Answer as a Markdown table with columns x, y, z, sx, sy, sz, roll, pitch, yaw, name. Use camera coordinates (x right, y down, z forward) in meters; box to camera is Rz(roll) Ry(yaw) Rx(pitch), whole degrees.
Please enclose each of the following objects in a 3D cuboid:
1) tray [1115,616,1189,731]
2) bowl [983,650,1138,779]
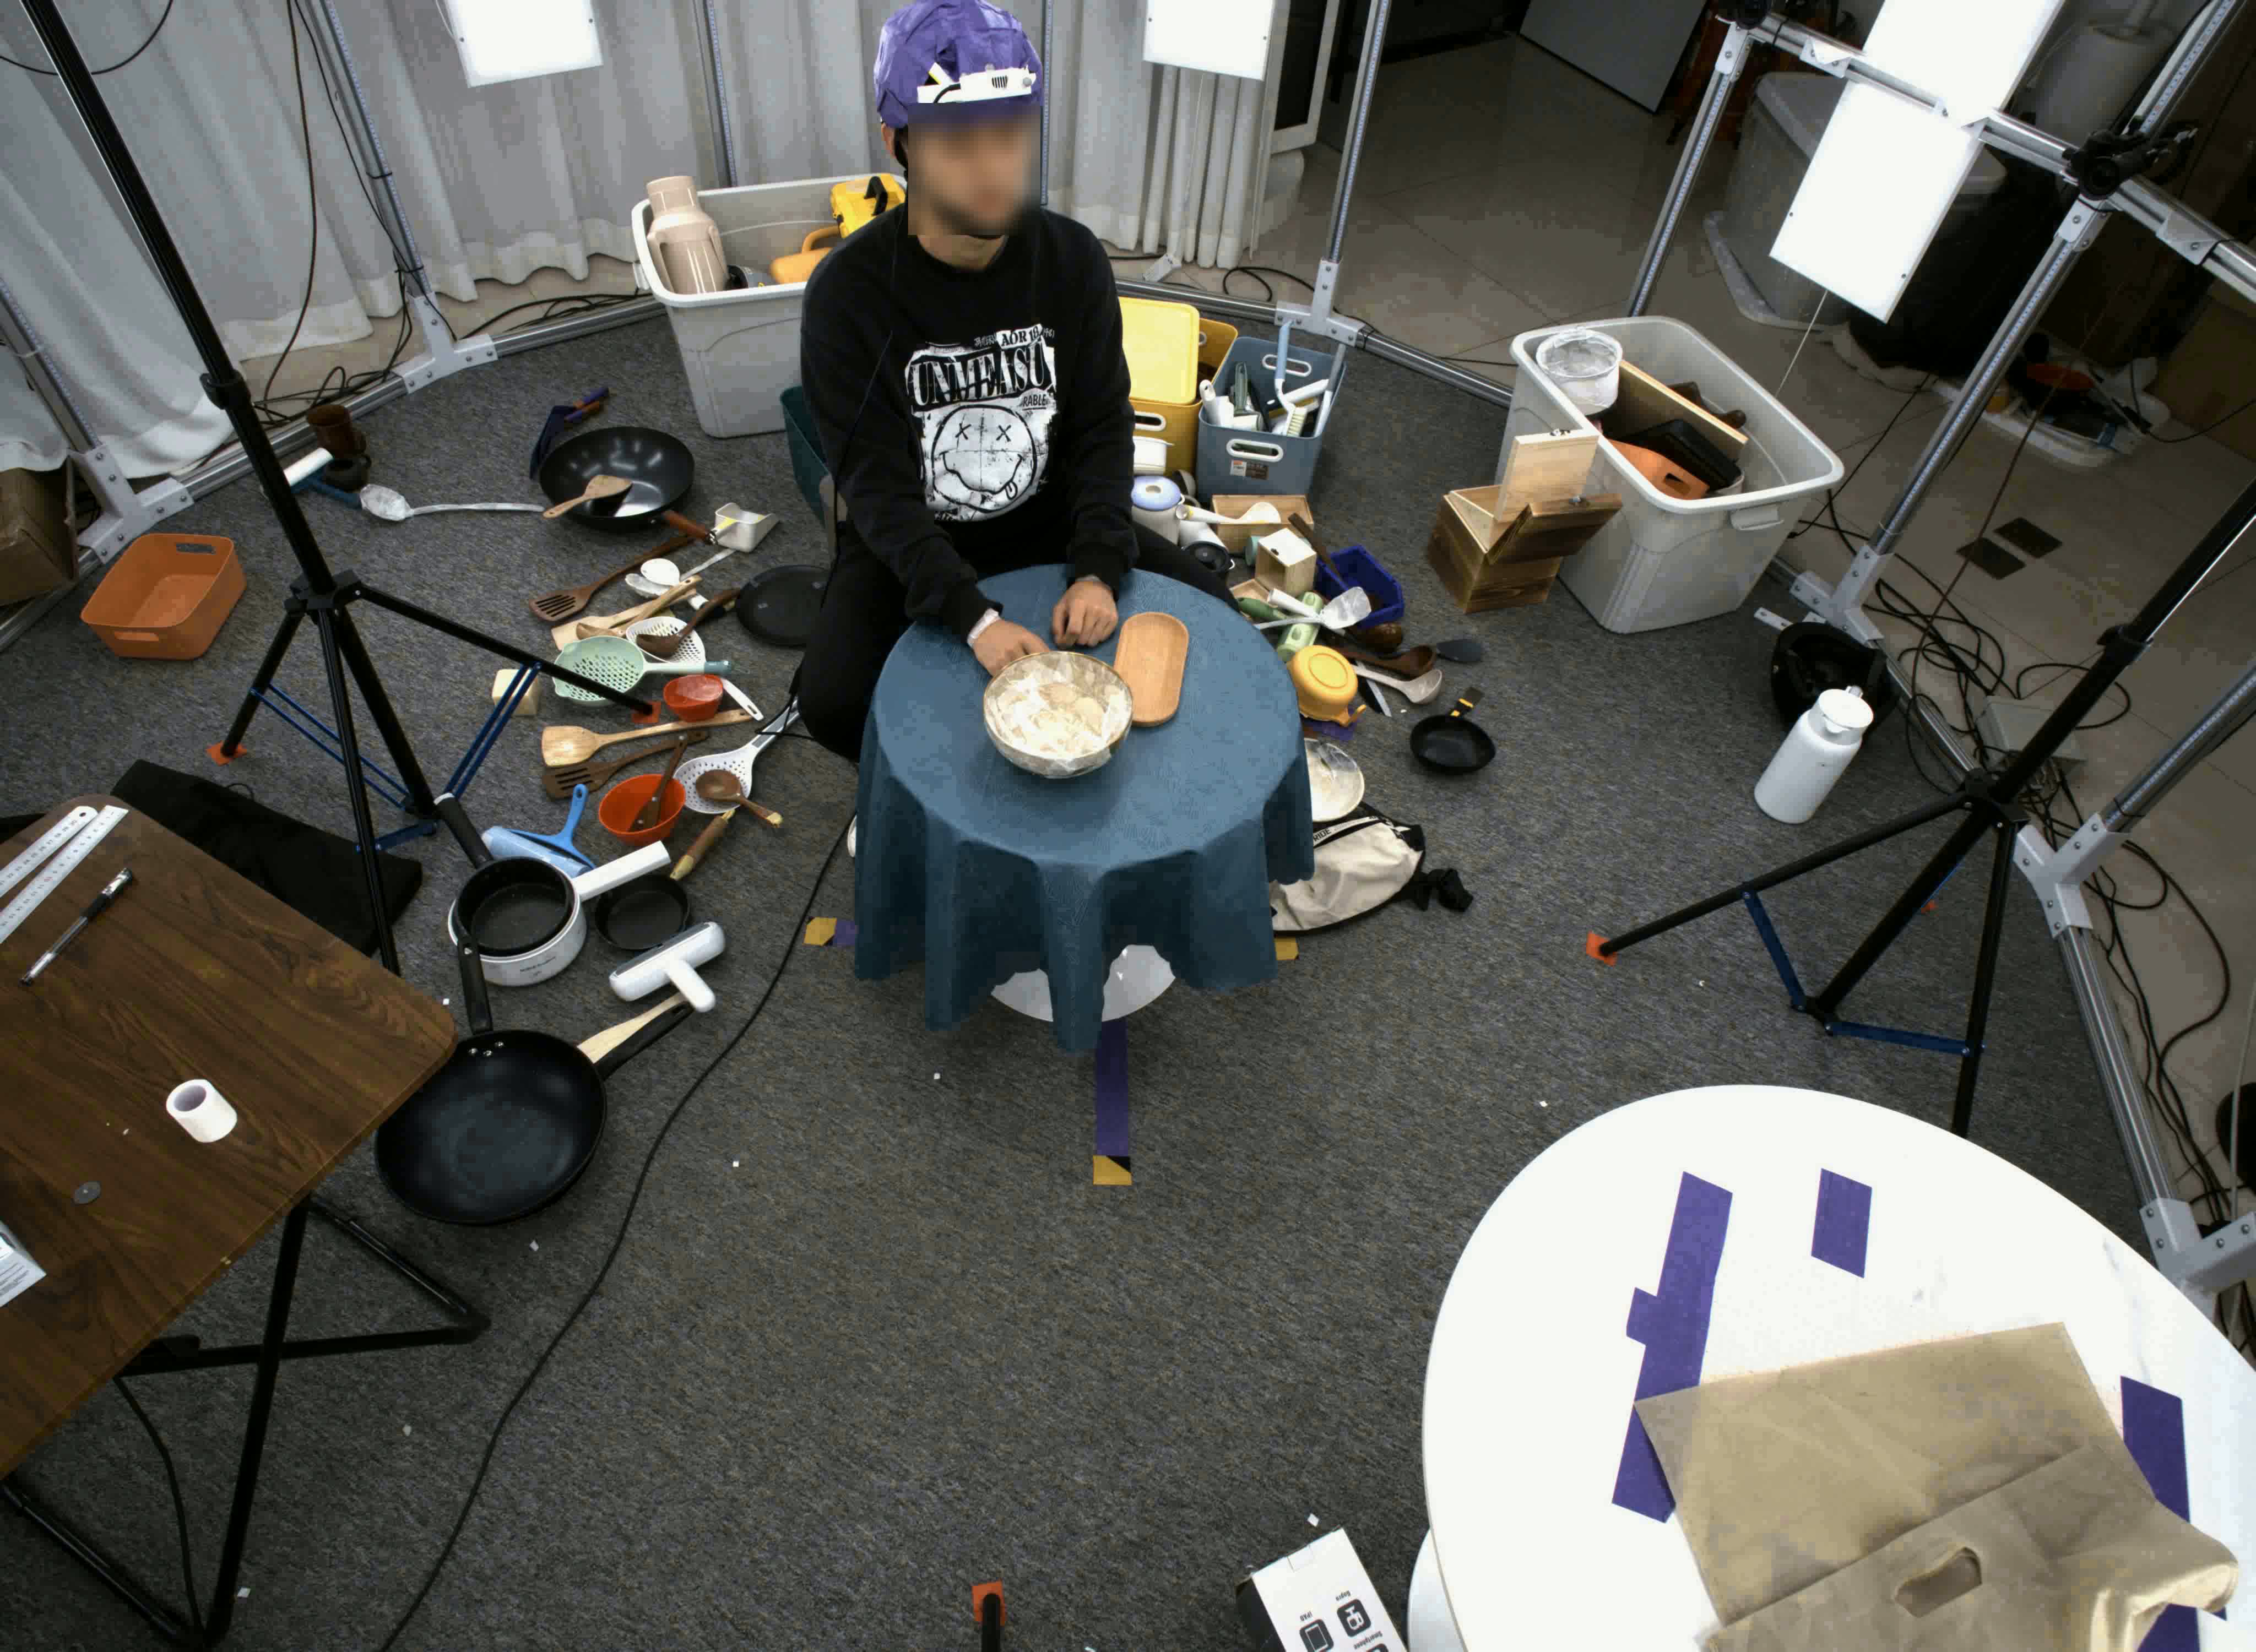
| x | y | z | sx | sy | sz | roll | pitch | yaw | name |
| --- | --- | --- | --- | --- | --- | --- | --- | --- | --- |
| 0.033 | -0.225 | 1.873 | 0.102 | 0.020 | 0.237 | 5 | 50 | 4 | tray |
| -0.090 | -0.136 | 1.737 | 0.214 | 0.092 | 0.220 | 1 | 48 | -2 | bowl |
